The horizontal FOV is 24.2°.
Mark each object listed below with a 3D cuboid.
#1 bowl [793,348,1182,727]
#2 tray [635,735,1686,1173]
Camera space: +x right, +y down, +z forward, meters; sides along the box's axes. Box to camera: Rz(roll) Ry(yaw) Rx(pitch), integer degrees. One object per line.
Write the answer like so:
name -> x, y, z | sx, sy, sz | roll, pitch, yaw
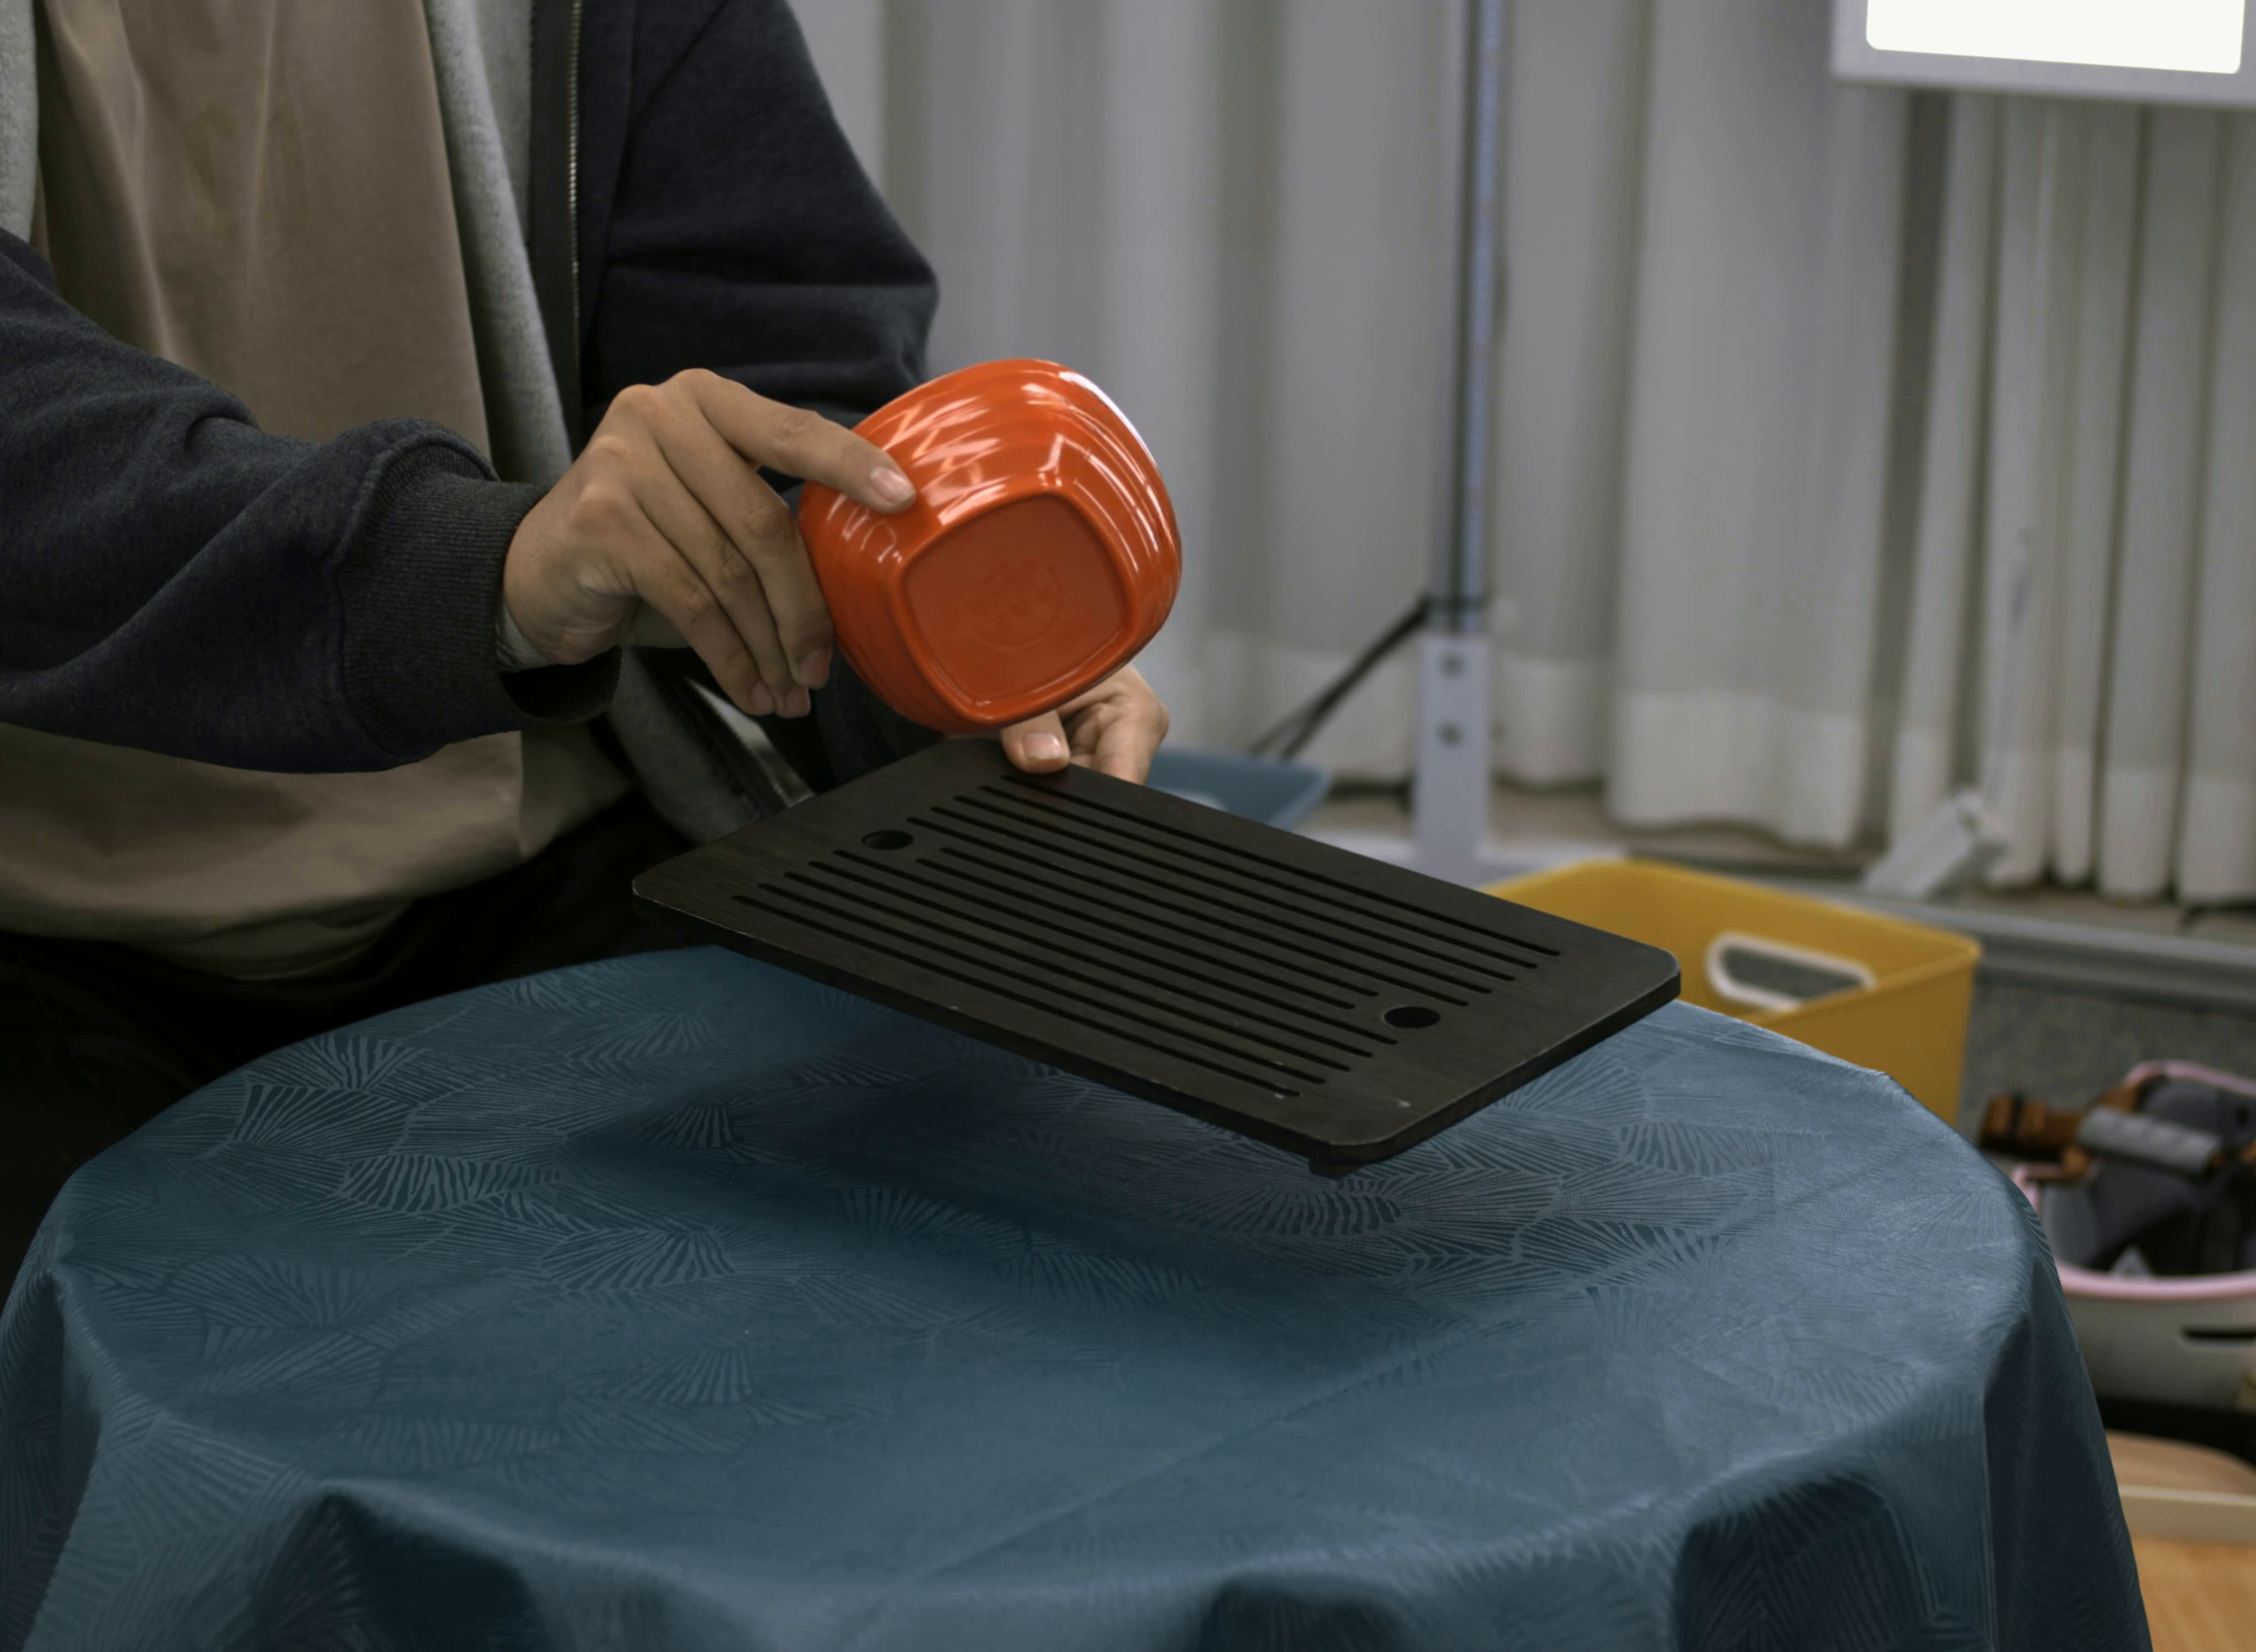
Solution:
bowl -> -0.037, -0.075, 1.533 | 0.119, 0.120, 0.051 | -3, 29, -12
tray -> 0.007, 0.036, 1.647 | 0.302, 0.019, 0.170 | 18, 29, 36
